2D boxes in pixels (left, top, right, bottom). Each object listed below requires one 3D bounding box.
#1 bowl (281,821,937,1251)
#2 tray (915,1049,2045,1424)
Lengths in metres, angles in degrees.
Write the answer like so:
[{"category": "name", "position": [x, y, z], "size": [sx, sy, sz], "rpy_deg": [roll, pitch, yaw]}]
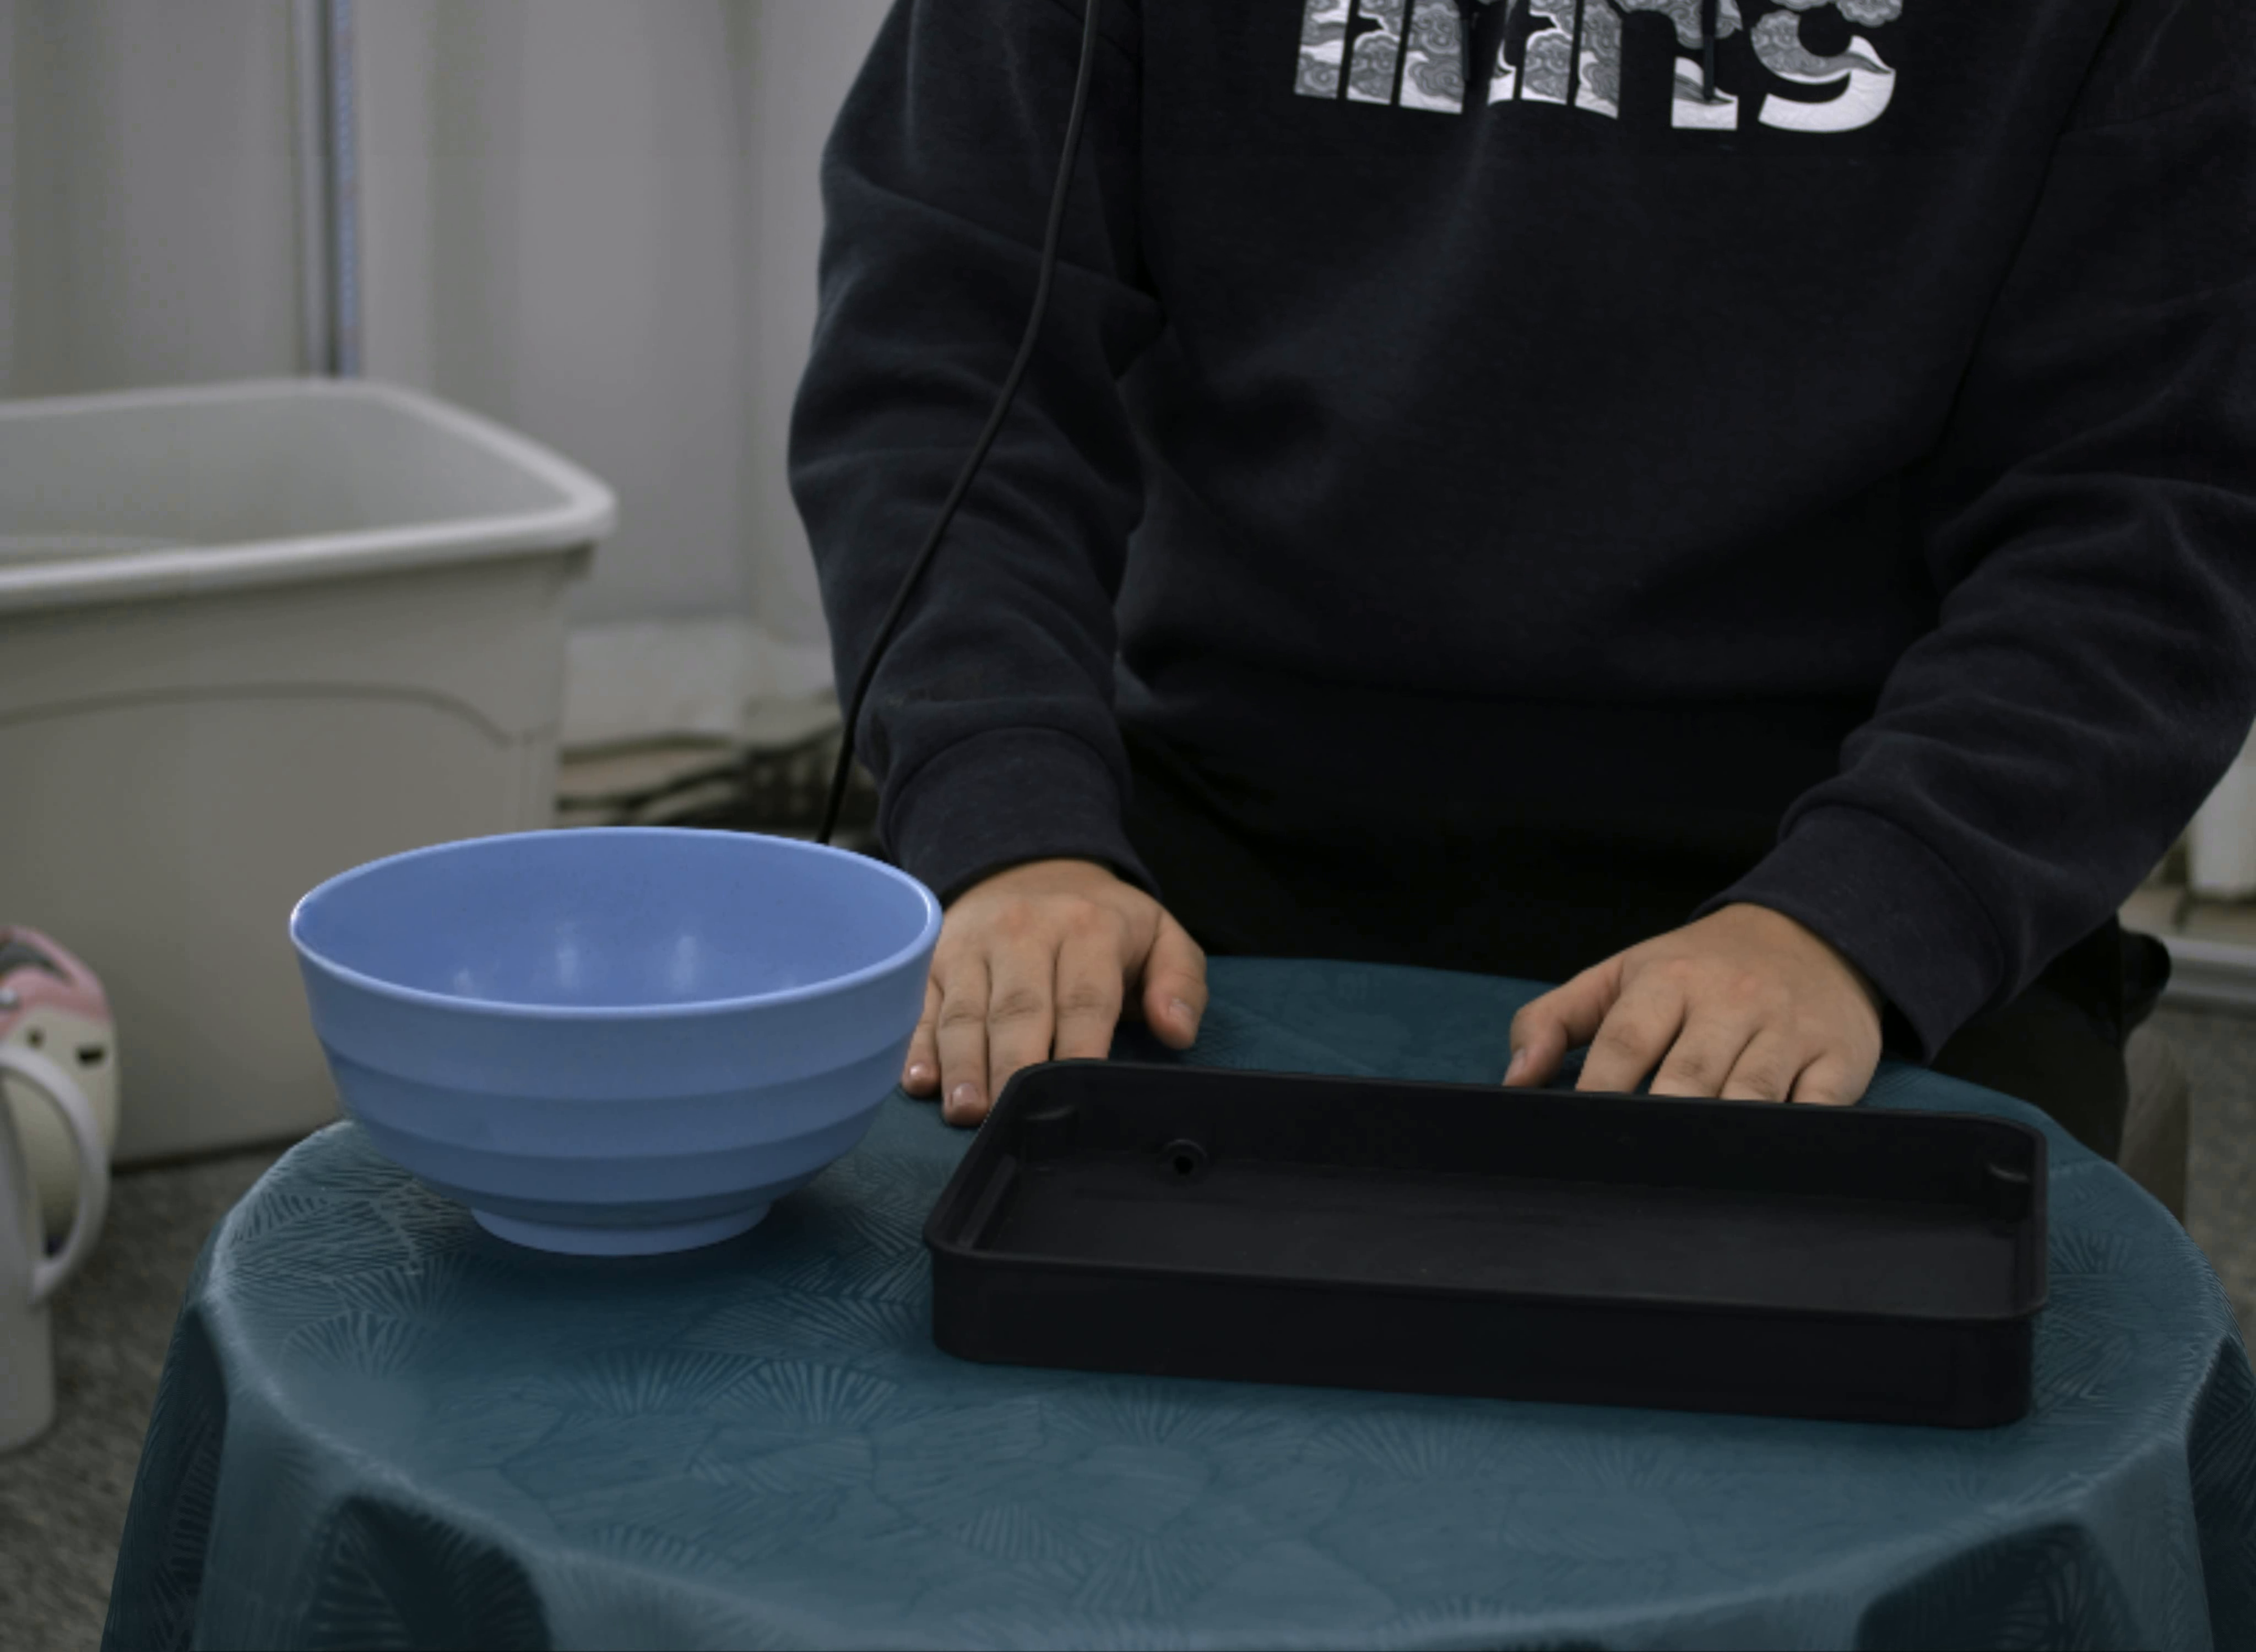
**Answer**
[{"category": "bowl", "position": [-0.154, 0.069, 1.591], "size": [0.196, 0.096, 0.195], "rpy_deg": [-1, 16, 1]}, {"category": "tray", "position": [0.107, 0.117, 1.542], "size": [0.316, 0.037, 0.184], "rpy_deg": [3, 15, 8]}]
